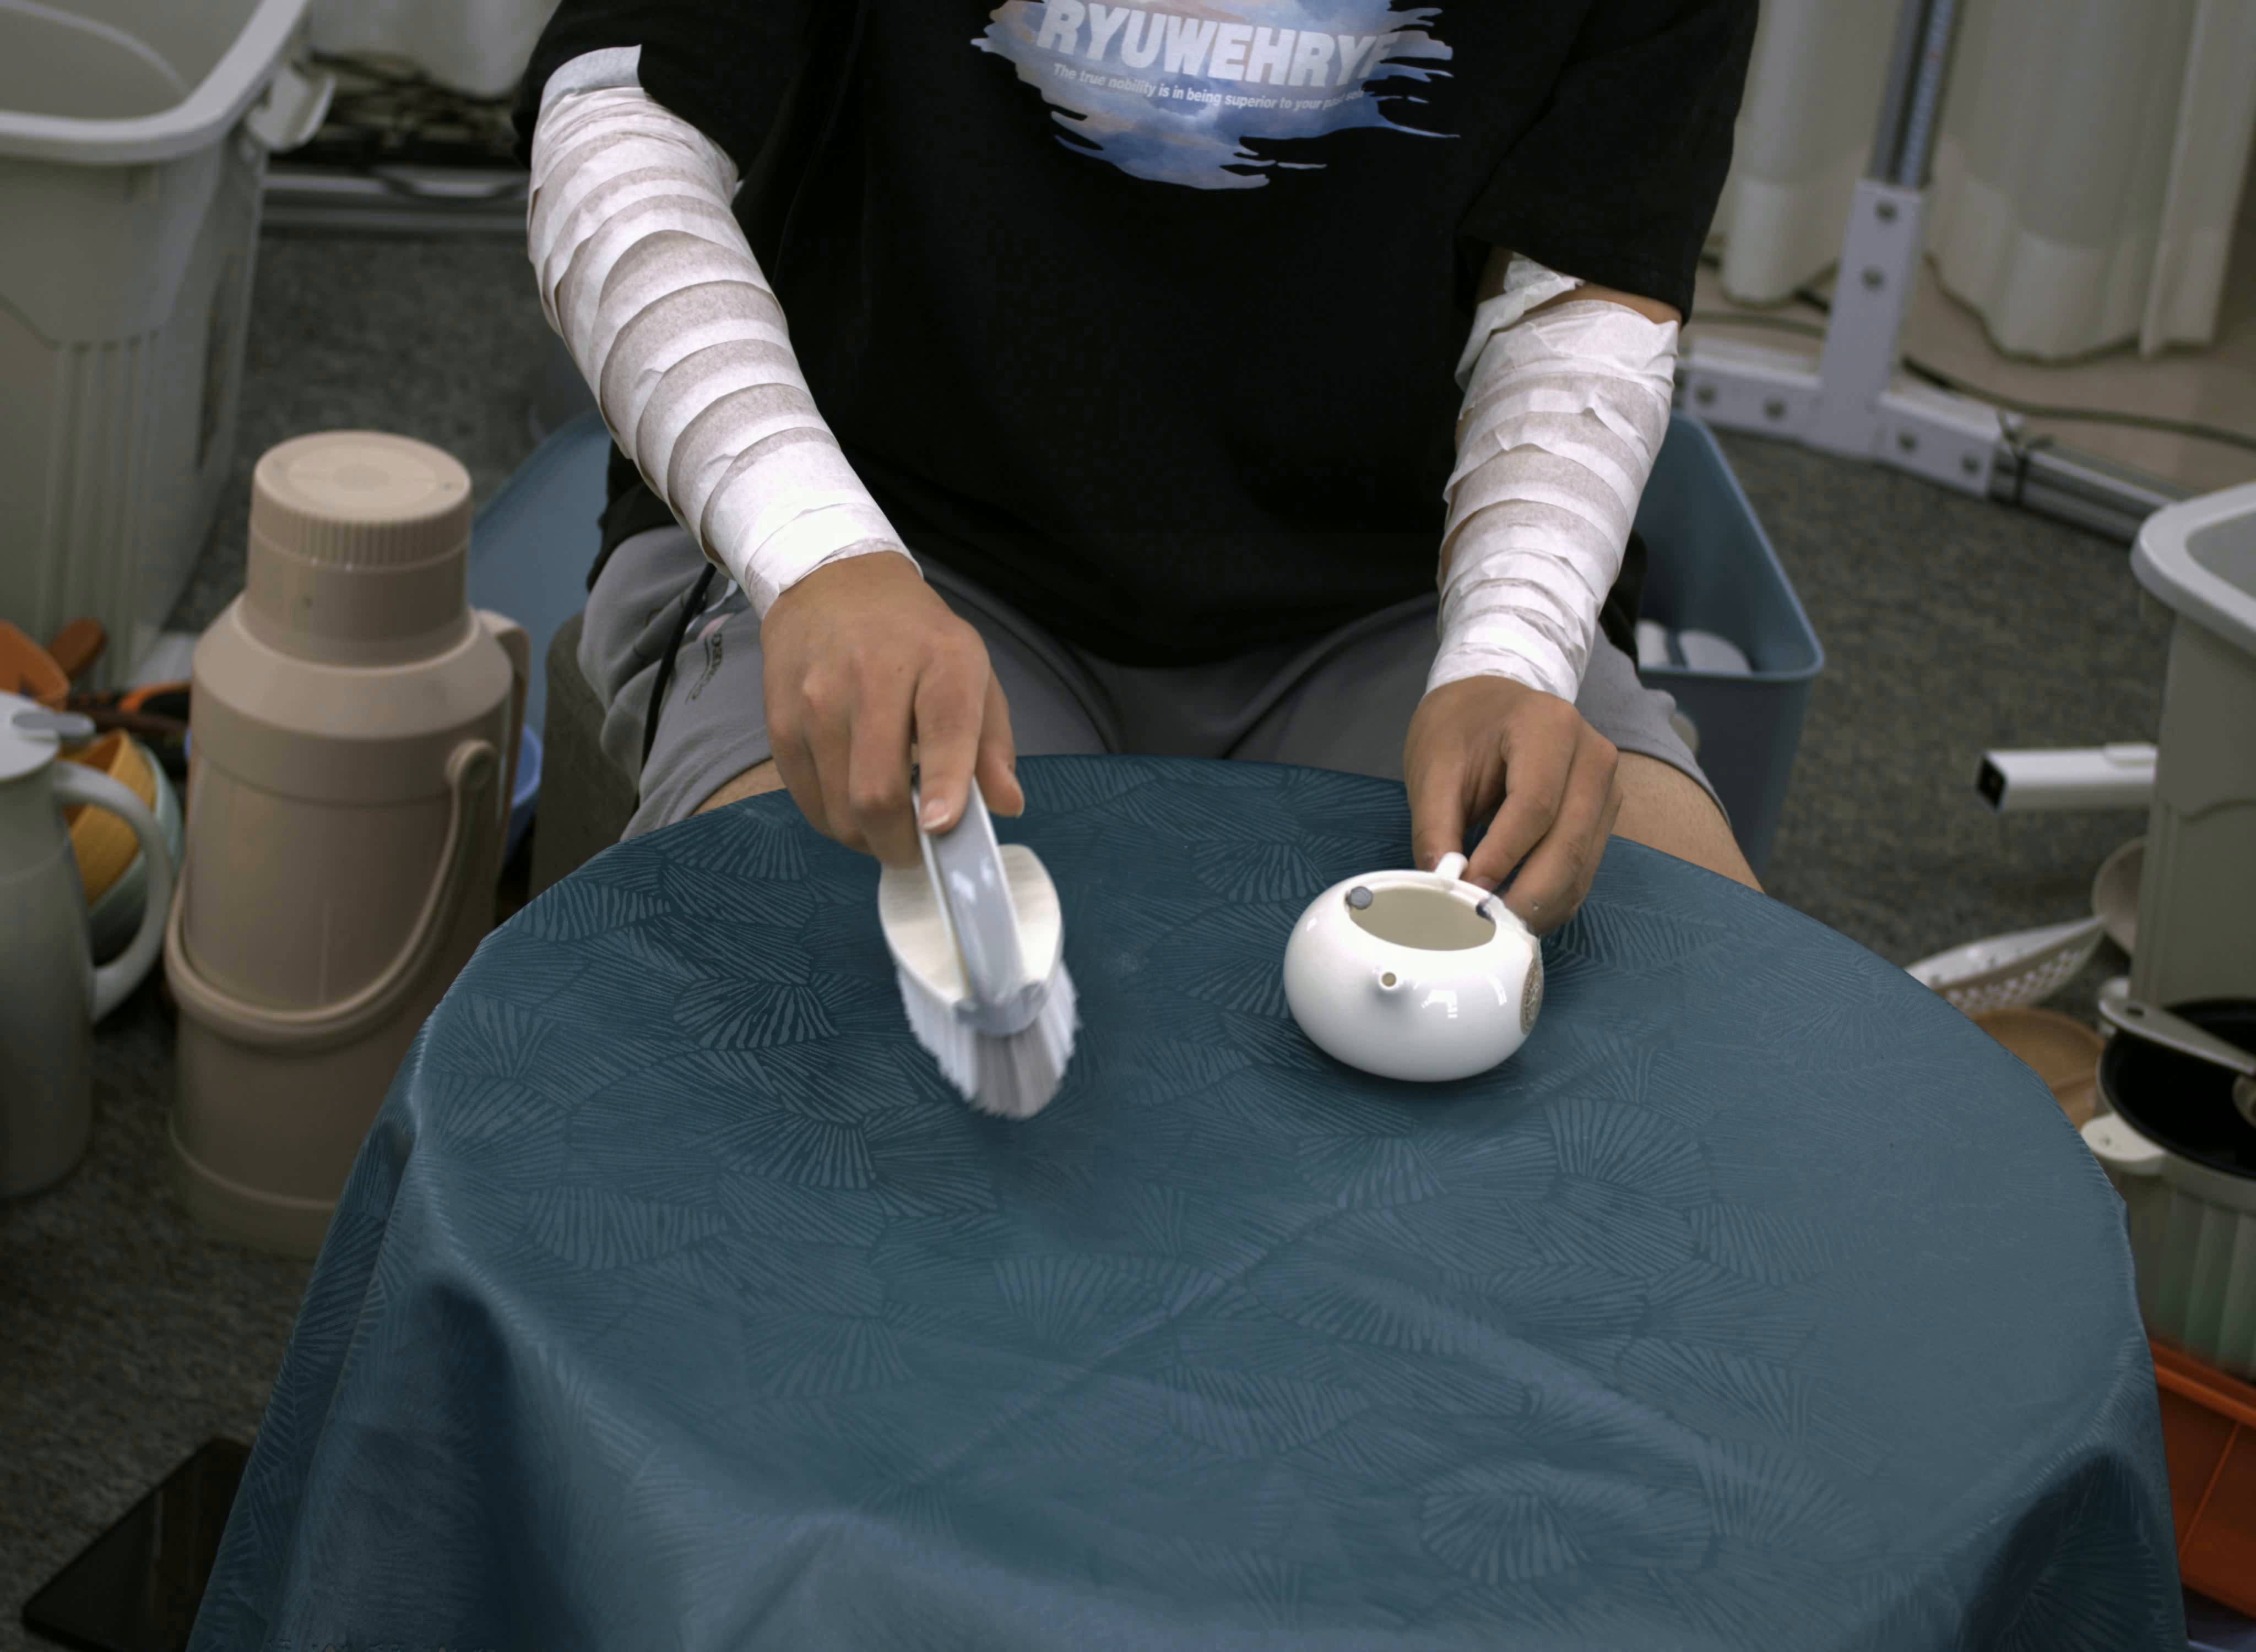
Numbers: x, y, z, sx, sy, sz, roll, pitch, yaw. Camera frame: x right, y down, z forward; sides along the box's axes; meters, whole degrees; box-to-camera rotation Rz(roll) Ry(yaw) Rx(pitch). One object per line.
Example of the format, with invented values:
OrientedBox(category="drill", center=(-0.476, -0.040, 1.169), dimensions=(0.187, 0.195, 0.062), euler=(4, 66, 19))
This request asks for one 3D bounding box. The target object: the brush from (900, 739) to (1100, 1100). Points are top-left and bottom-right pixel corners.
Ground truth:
OrientedBox(category="brush", center=(-0.048, 0.026, 1.829), dimensions=(0.061, 0.094, 0.176), euler=(-18, 21, -1))

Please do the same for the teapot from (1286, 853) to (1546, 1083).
OrientedBox(category="teapot", center=(0.106, 0.050, 1.913), dimensions=(0.093, 0.056, 0.127), euler=(9, 26, 13))
